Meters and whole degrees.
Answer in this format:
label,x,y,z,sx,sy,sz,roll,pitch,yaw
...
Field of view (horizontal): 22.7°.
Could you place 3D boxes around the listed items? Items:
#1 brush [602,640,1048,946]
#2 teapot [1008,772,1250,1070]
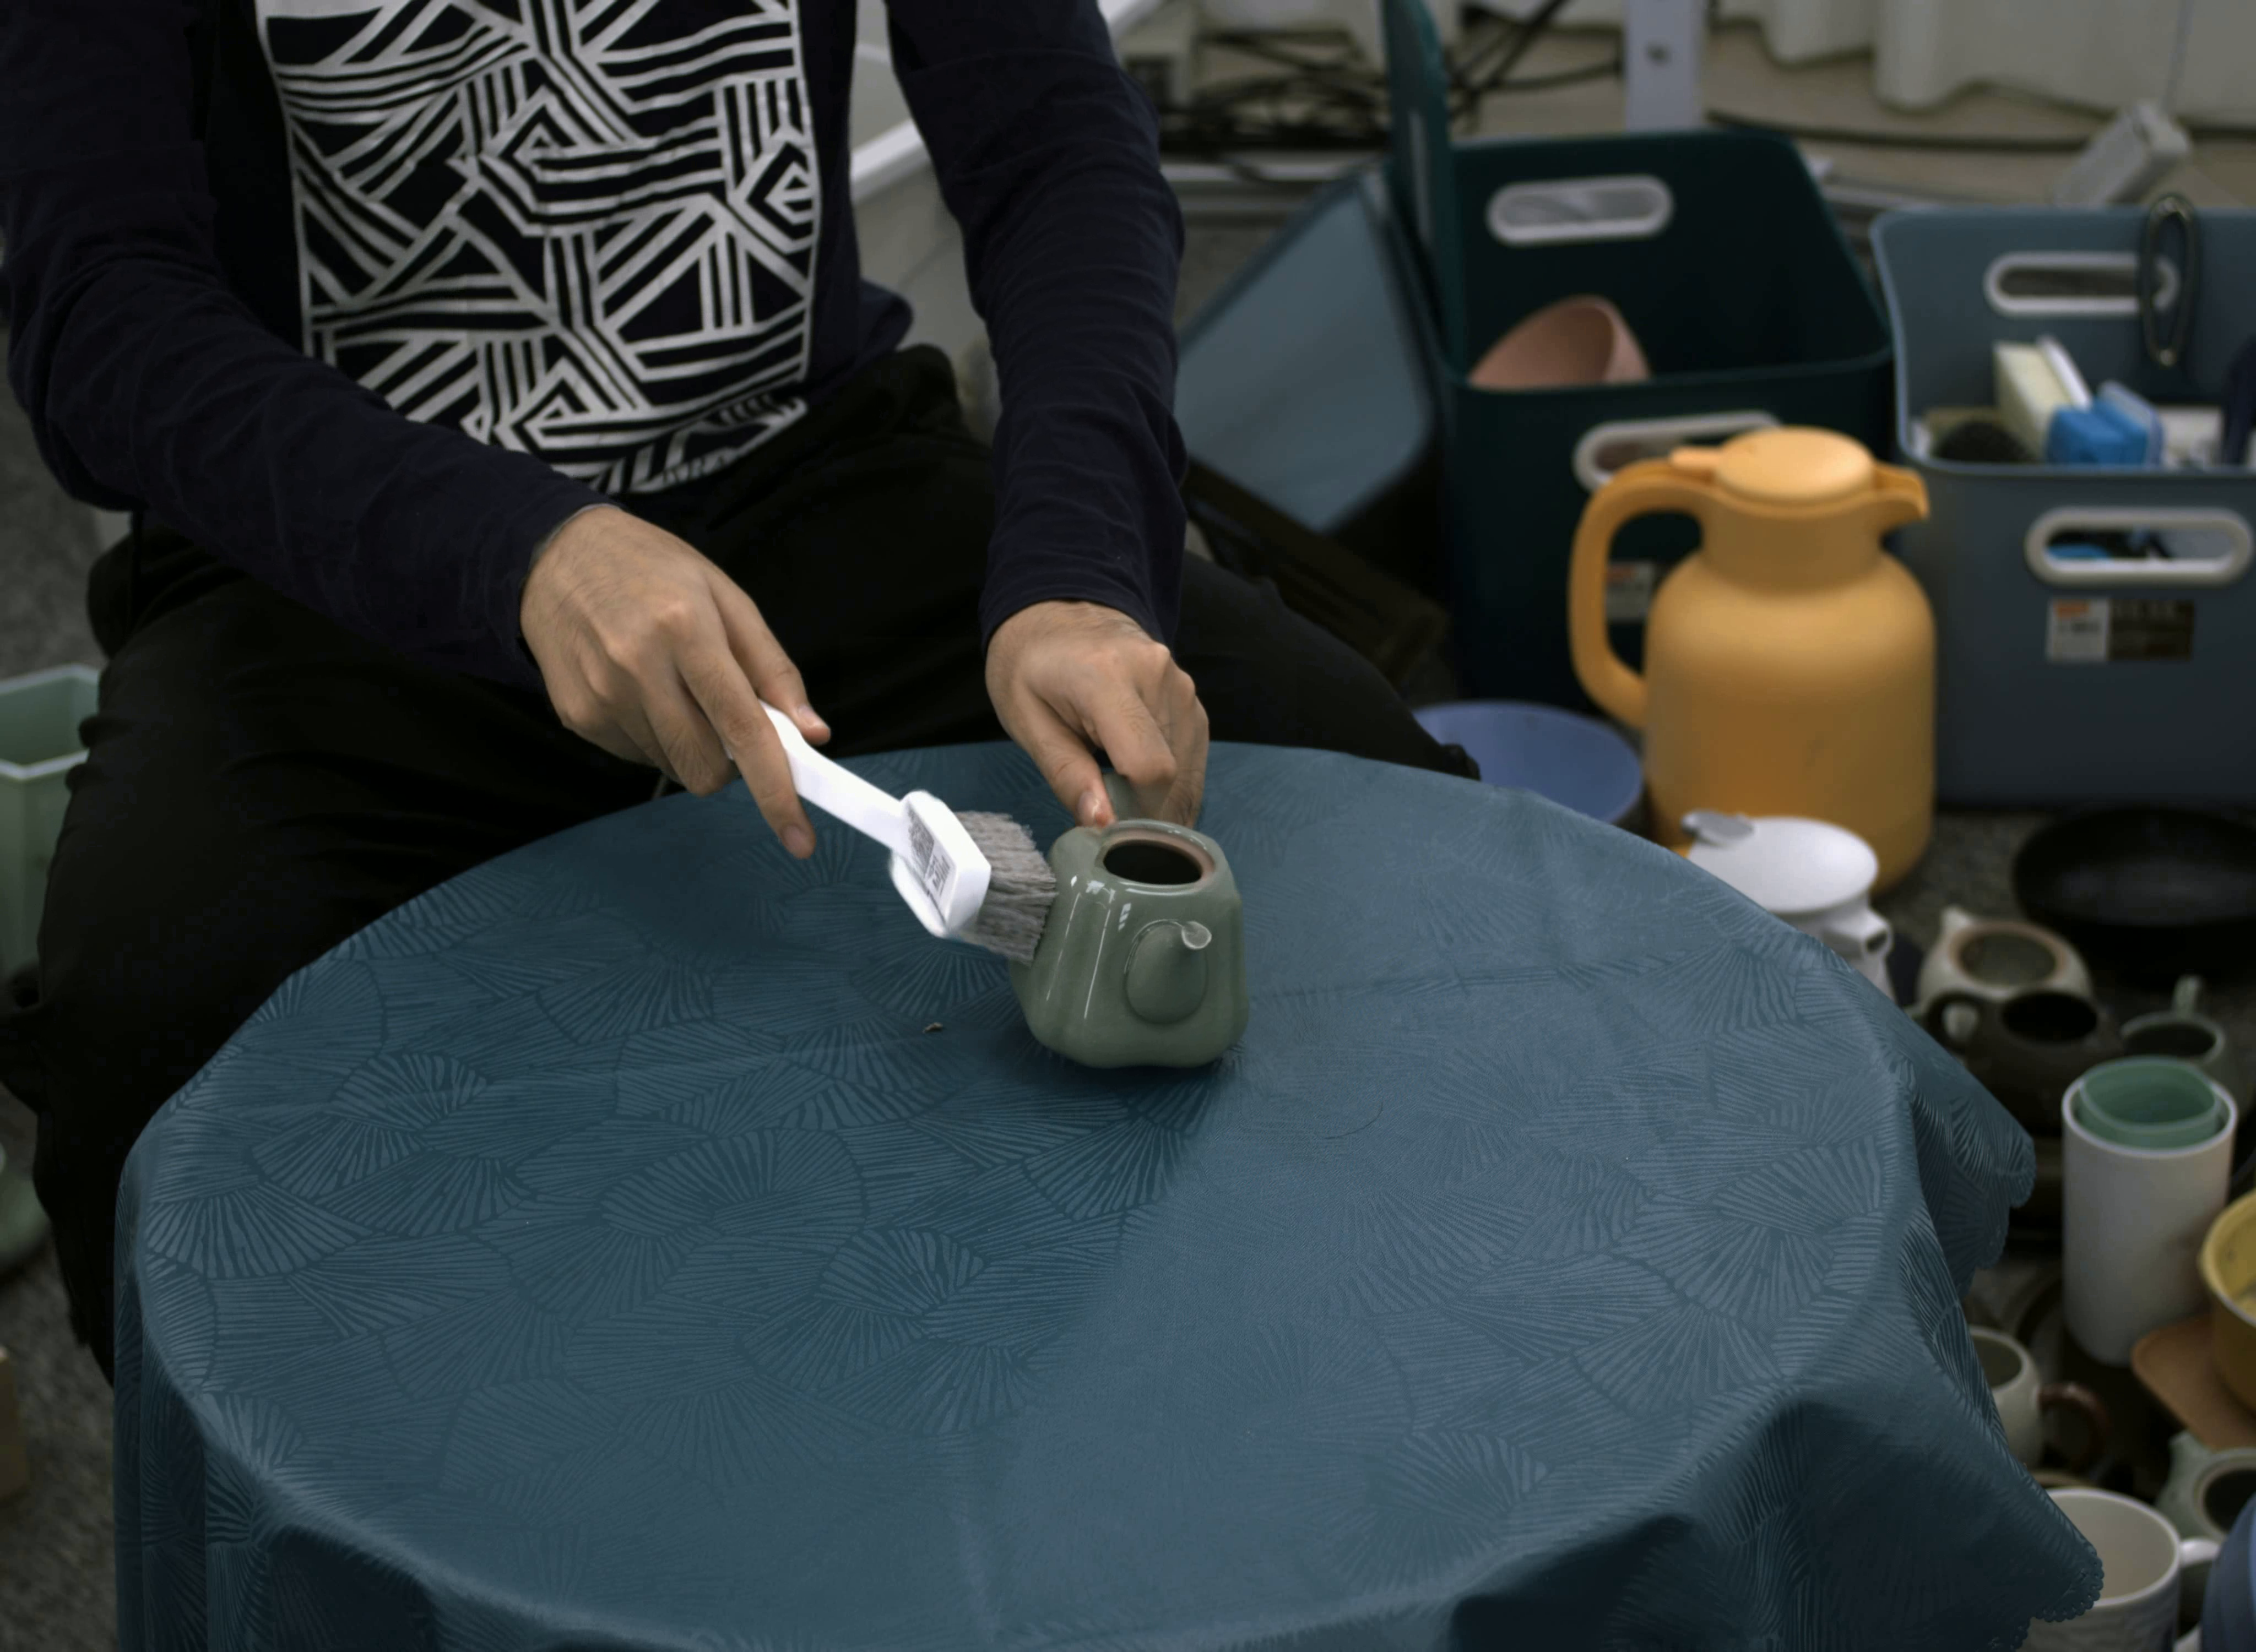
label,x,y,z,sx,sy,sz,roll,pitch,yaw
brush,-0.106,-0.016,1.995,0.050,0.034,0.244,-1,22,-38
teapot,0.003,0.038,1.933,0.079,0.074,0.134,2,25,-18
